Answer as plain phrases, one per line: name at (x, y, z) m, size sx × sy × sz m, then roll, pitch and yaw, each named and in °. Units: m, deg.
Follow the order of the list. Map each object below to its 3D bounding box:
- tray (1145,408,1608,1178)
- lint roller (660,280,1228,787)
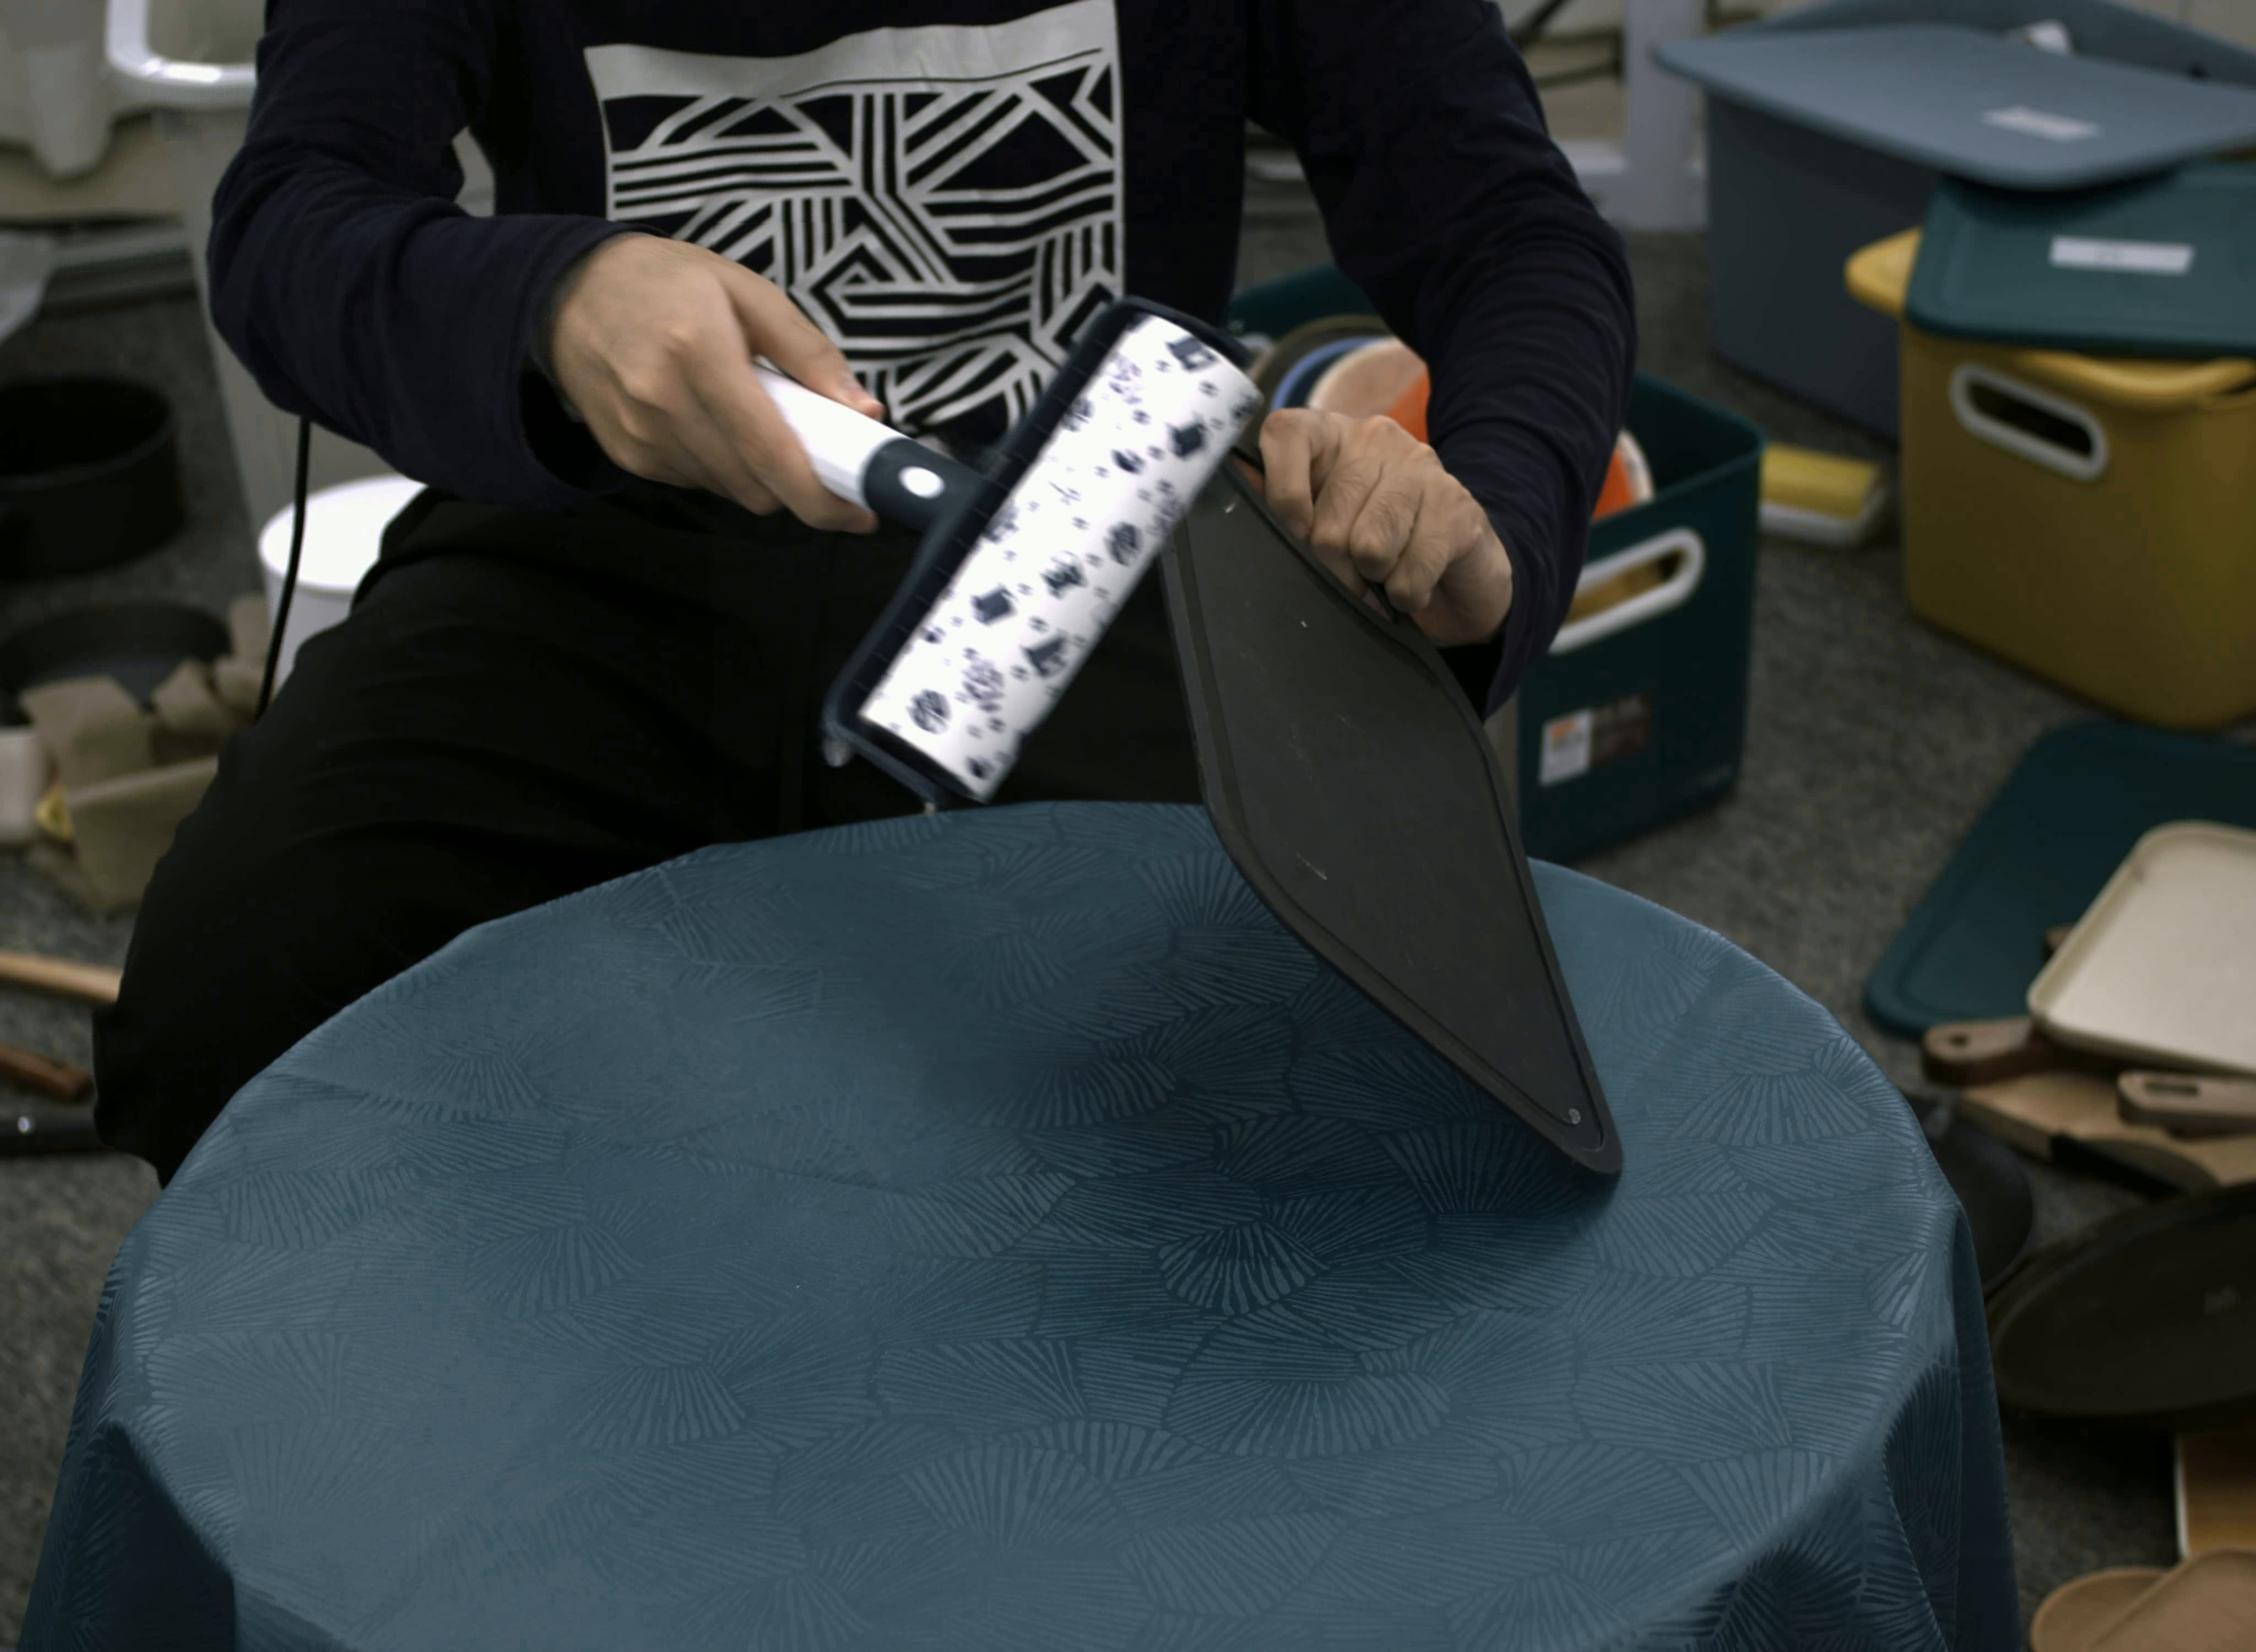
tray at (0.080, -0.025, 1.922) m, size 0.009 × 0.210 × 0.331 m, roll -38°, pitch 30°, yaw 19°
lint roller at (-0.090, -0.122, 1.875) m, size 0.247 × 0.050 × 0.177 m, roll 26°, pitch 79°, yaw 47°
